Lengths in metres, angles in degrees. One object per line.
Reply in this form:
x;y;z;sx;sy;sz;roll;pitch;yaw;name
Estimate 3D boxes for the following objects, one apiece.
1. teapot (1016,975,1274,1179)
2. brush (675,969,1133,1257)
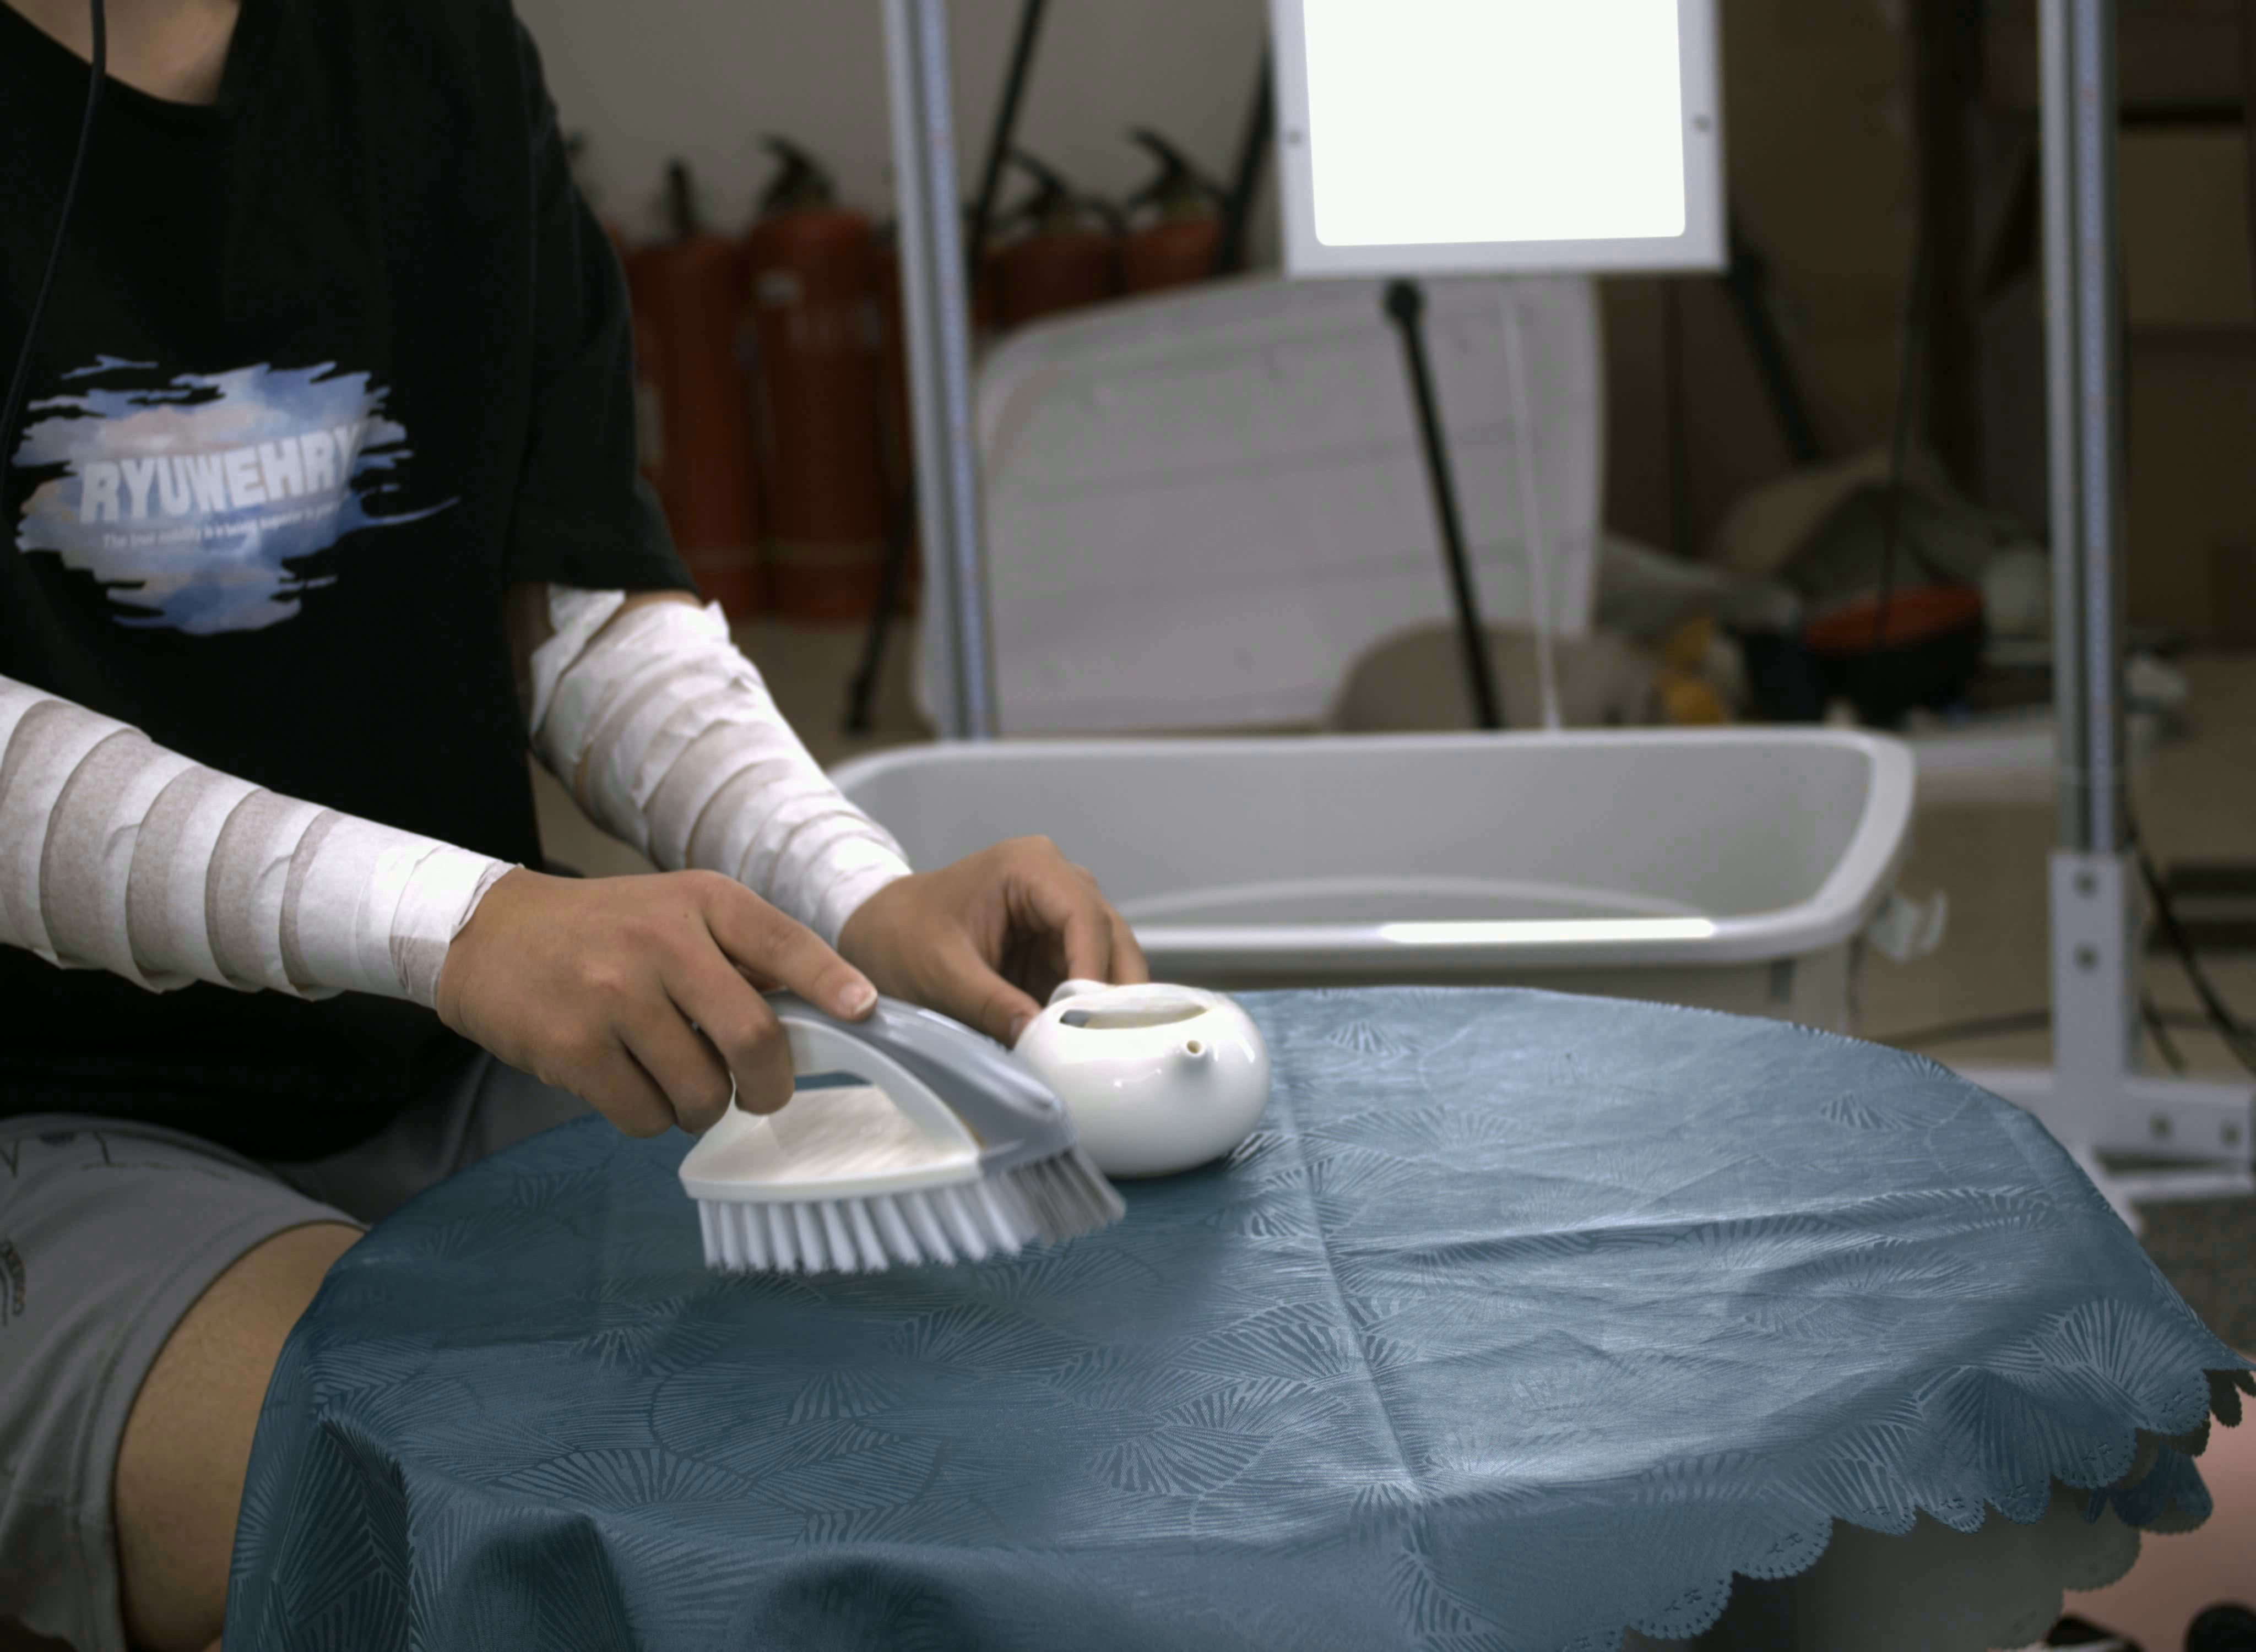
0.000;0.087;1.944;0.092;0.057;0.129;-15;16;-22;teapot
-0.079;0.087;1.788;0.179;0.094;0.060;-2;33;45;brush
